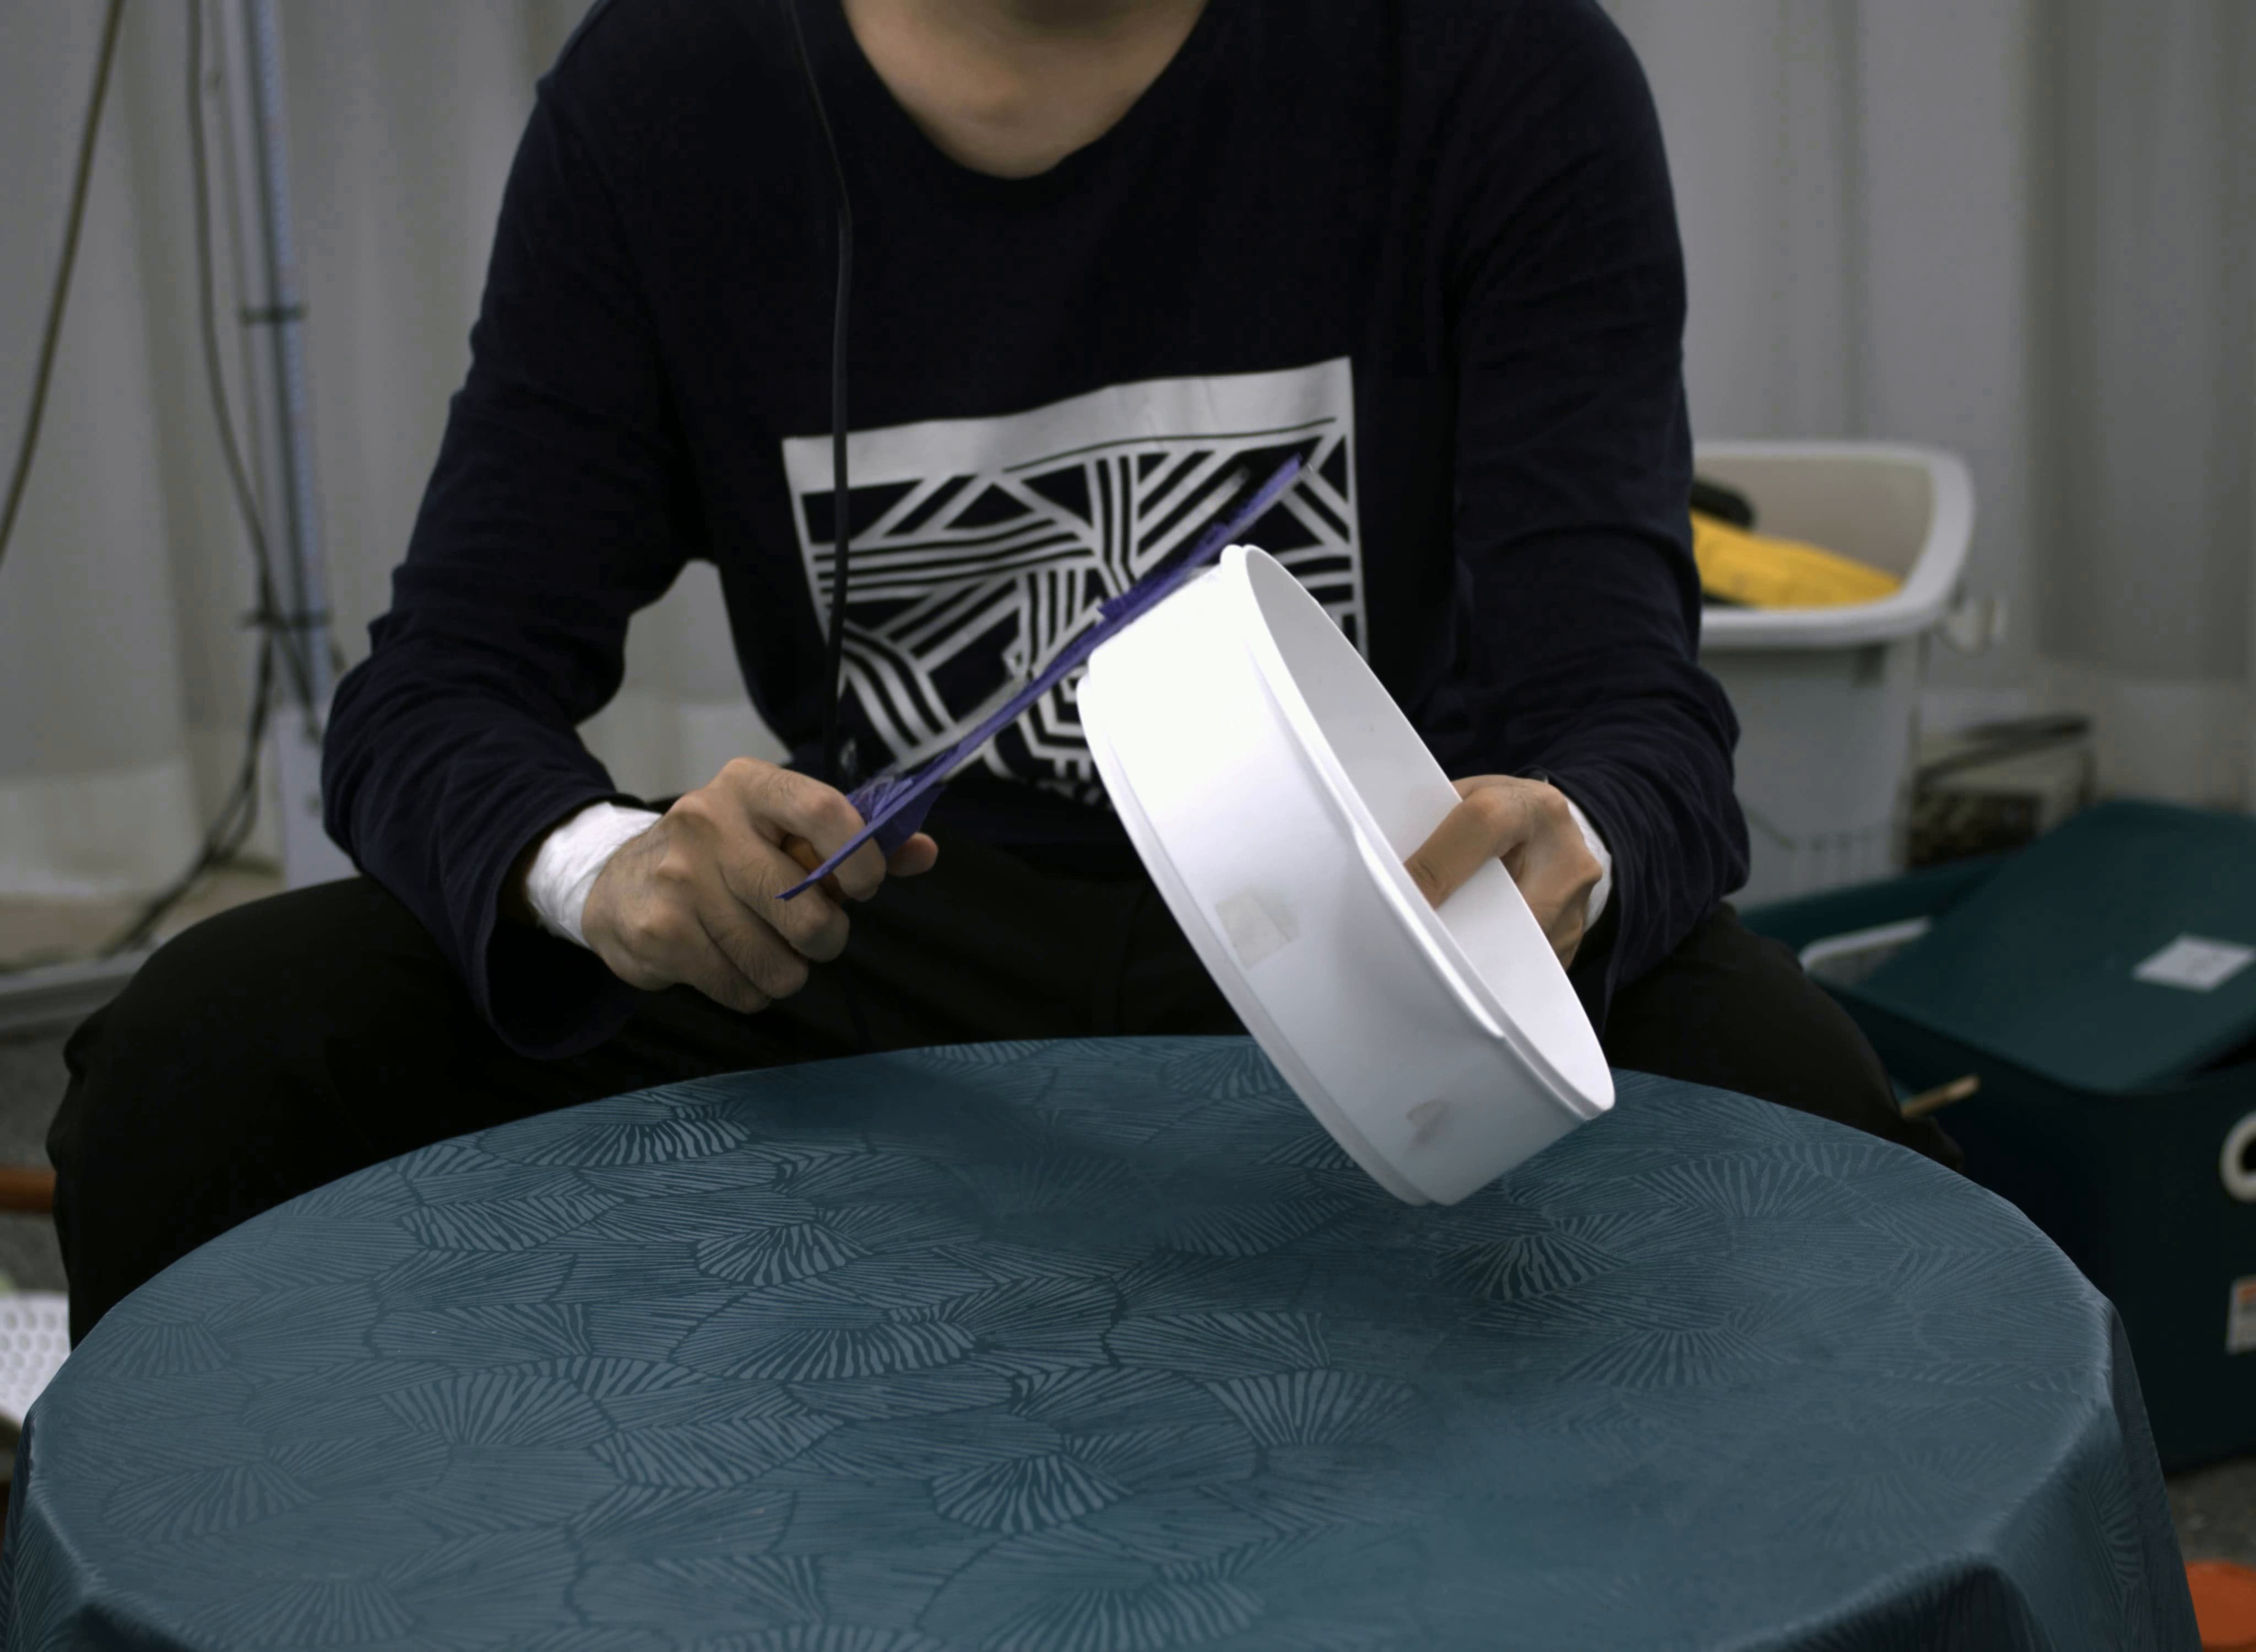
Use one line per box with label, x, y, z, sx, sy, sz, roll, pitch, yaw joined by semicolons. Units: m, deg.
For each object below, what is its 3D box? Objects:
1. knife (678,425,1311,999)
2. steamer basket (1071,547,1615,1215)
knife;-0.061;-0.024;1.744;0.313;0.032;0.104;-42;0;36
steamer basket;0.061;0.019;1.589;0.069;0.201;0.232;-33;13;8
